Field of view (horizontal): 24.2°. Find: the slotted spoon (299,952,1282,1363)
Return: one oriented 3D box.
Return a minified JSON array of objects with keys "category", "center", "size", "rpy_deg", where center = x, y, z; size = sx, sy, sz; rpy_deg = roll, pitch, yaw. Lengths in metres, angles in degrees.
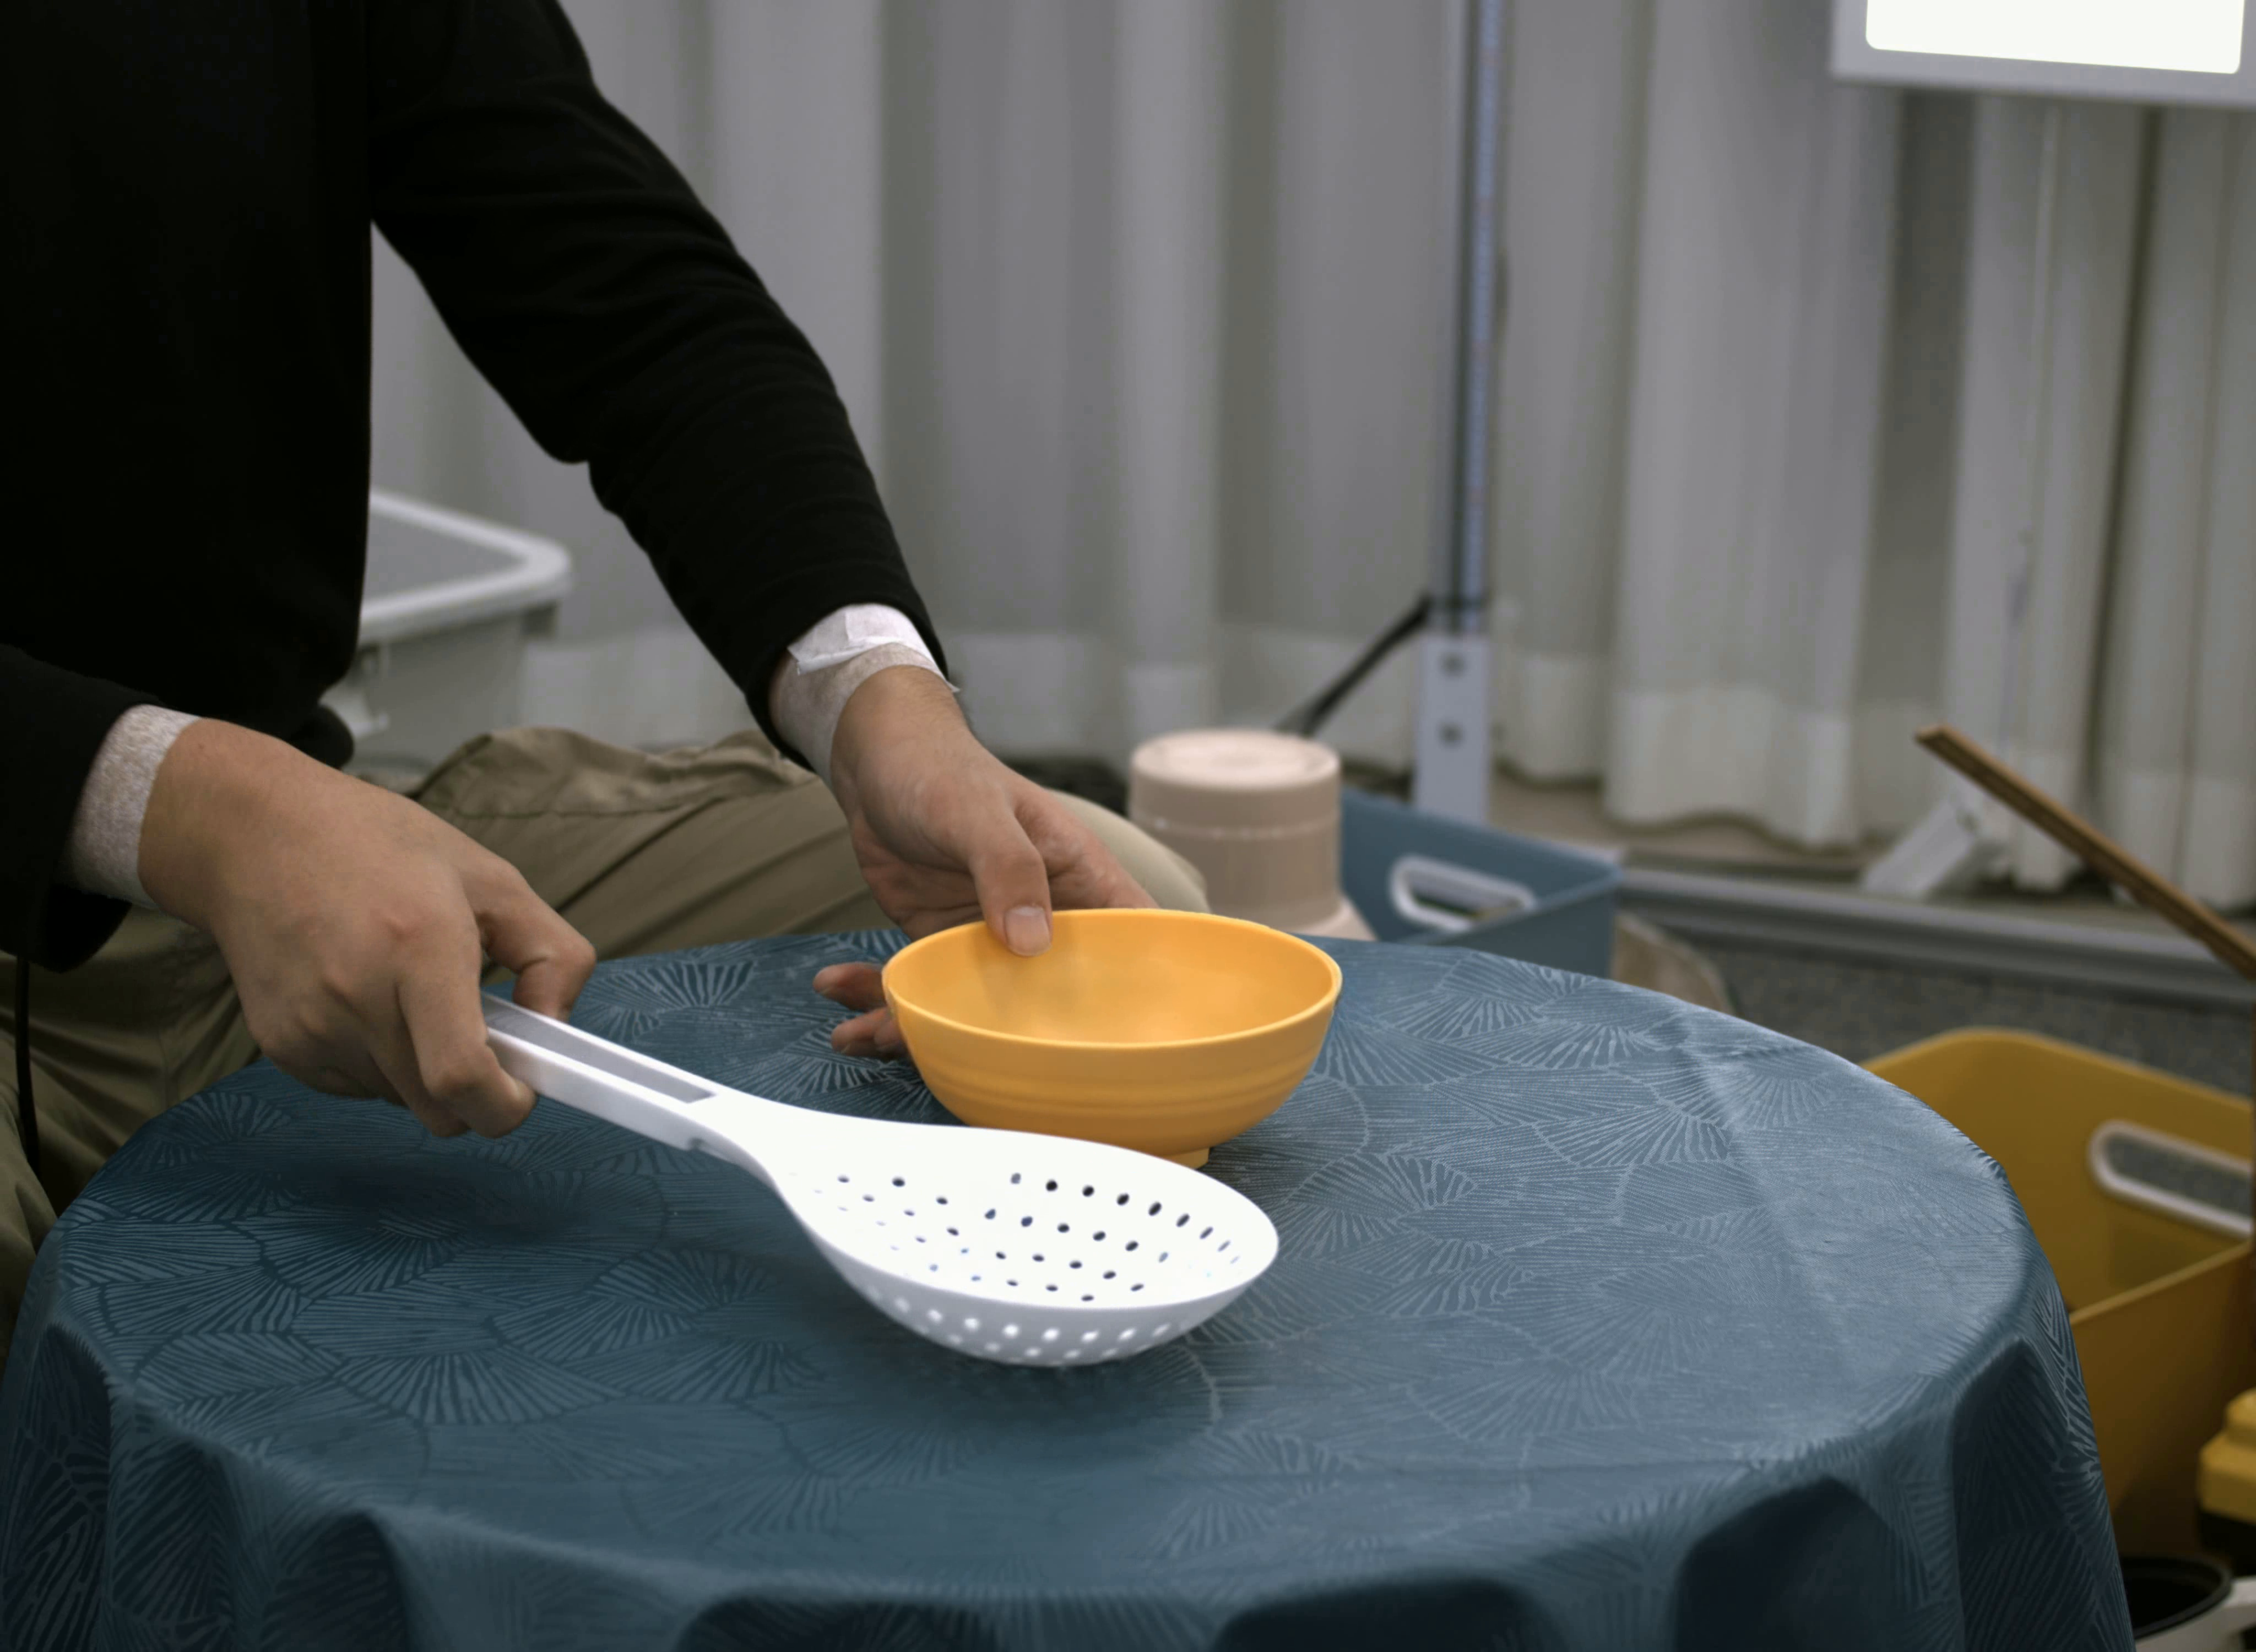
[{"category":"slotted spoon","center":[-0.111,0.089,1.539],"size":[0.345,0.046,0.137],"rpy_deg":[22,21,31]}]

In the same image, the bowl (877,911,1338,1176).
[{"category":"bowl","center":[-0.007,0.075,1.651],"size":[0.145,0.060,0.144],"rpy_deg":[3,15,0]}]
